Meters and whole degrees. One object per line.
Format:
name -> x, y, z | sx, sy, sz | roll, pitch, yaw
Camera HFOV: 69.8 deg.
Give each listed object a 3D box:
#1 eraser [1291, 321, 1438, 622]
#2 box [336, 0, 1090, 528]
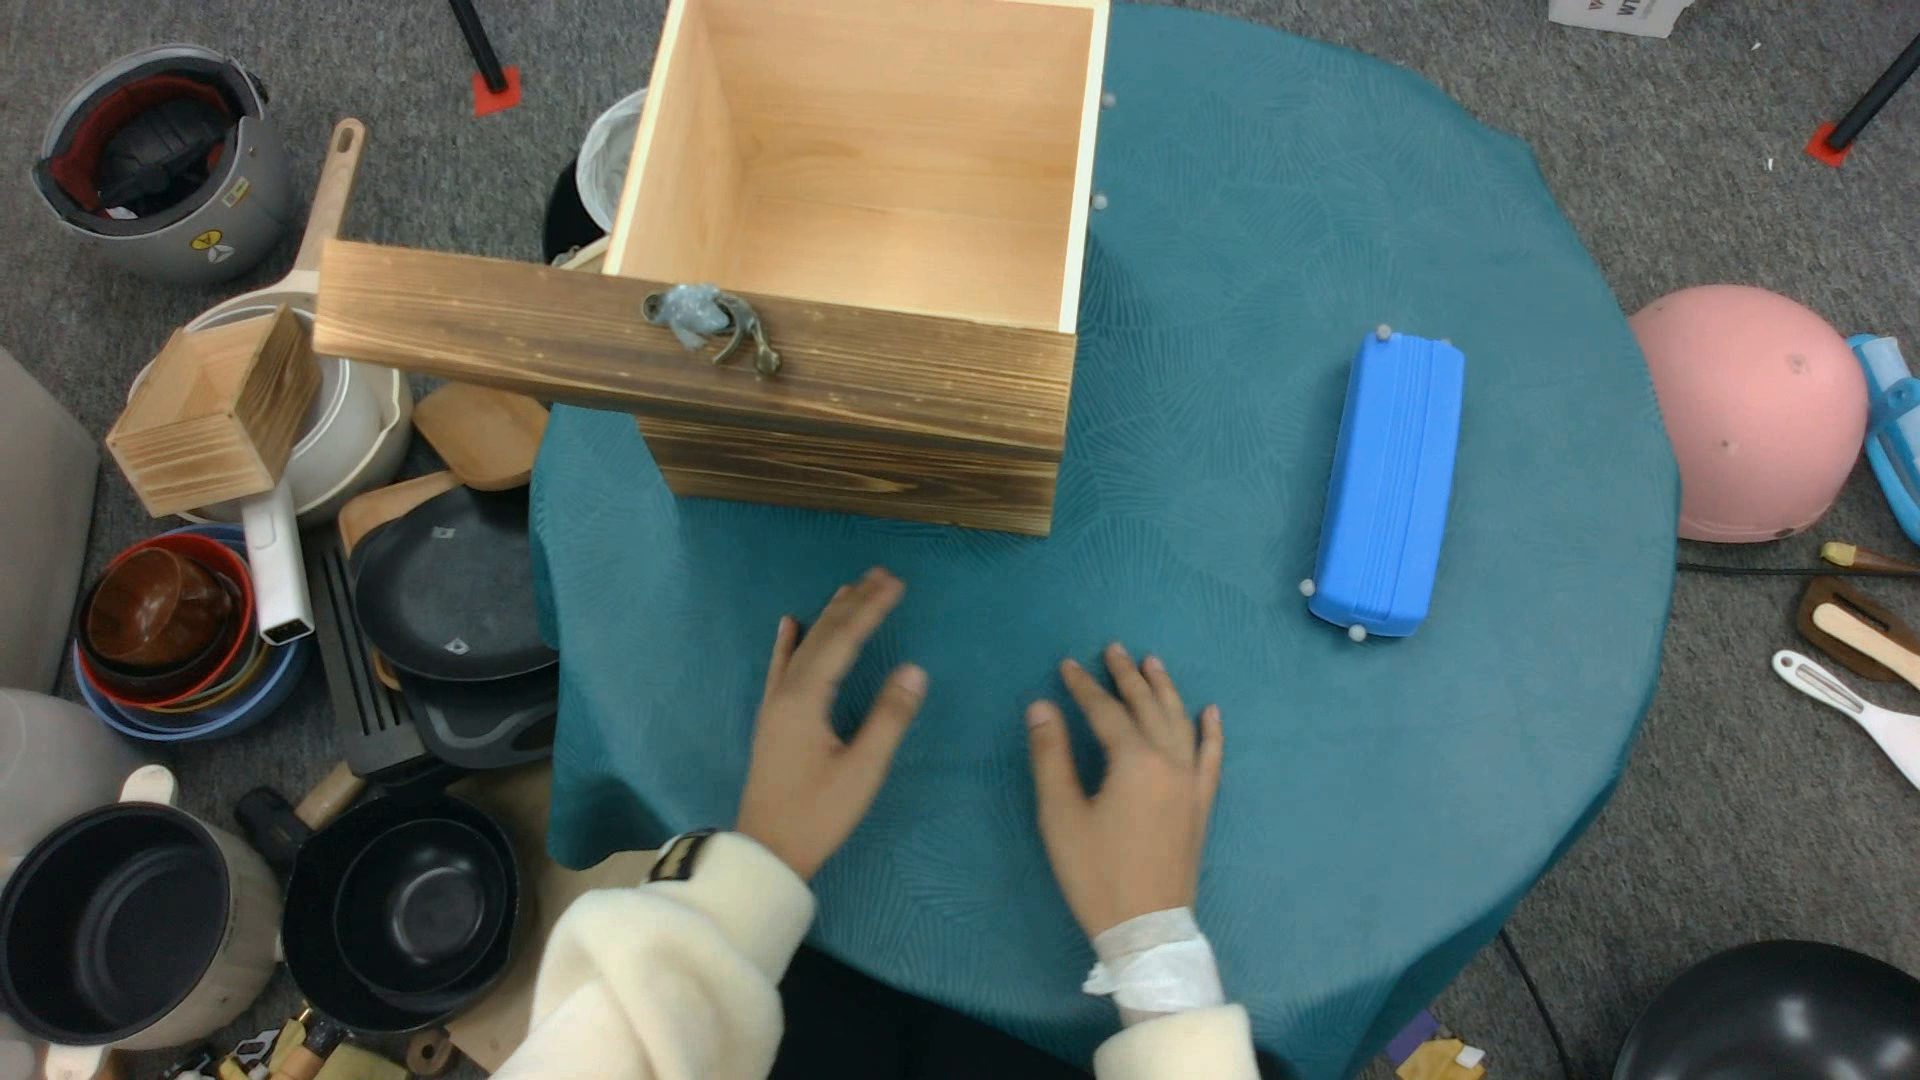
eraser -> 0.210, -0.040, 0.705 | 0.054, 0.047, 0.163 | 13, 67, 6
box -> -0.056, -0.127, 0.574 | 0.209, 0.374, 0.323 | 6, 69, 2
